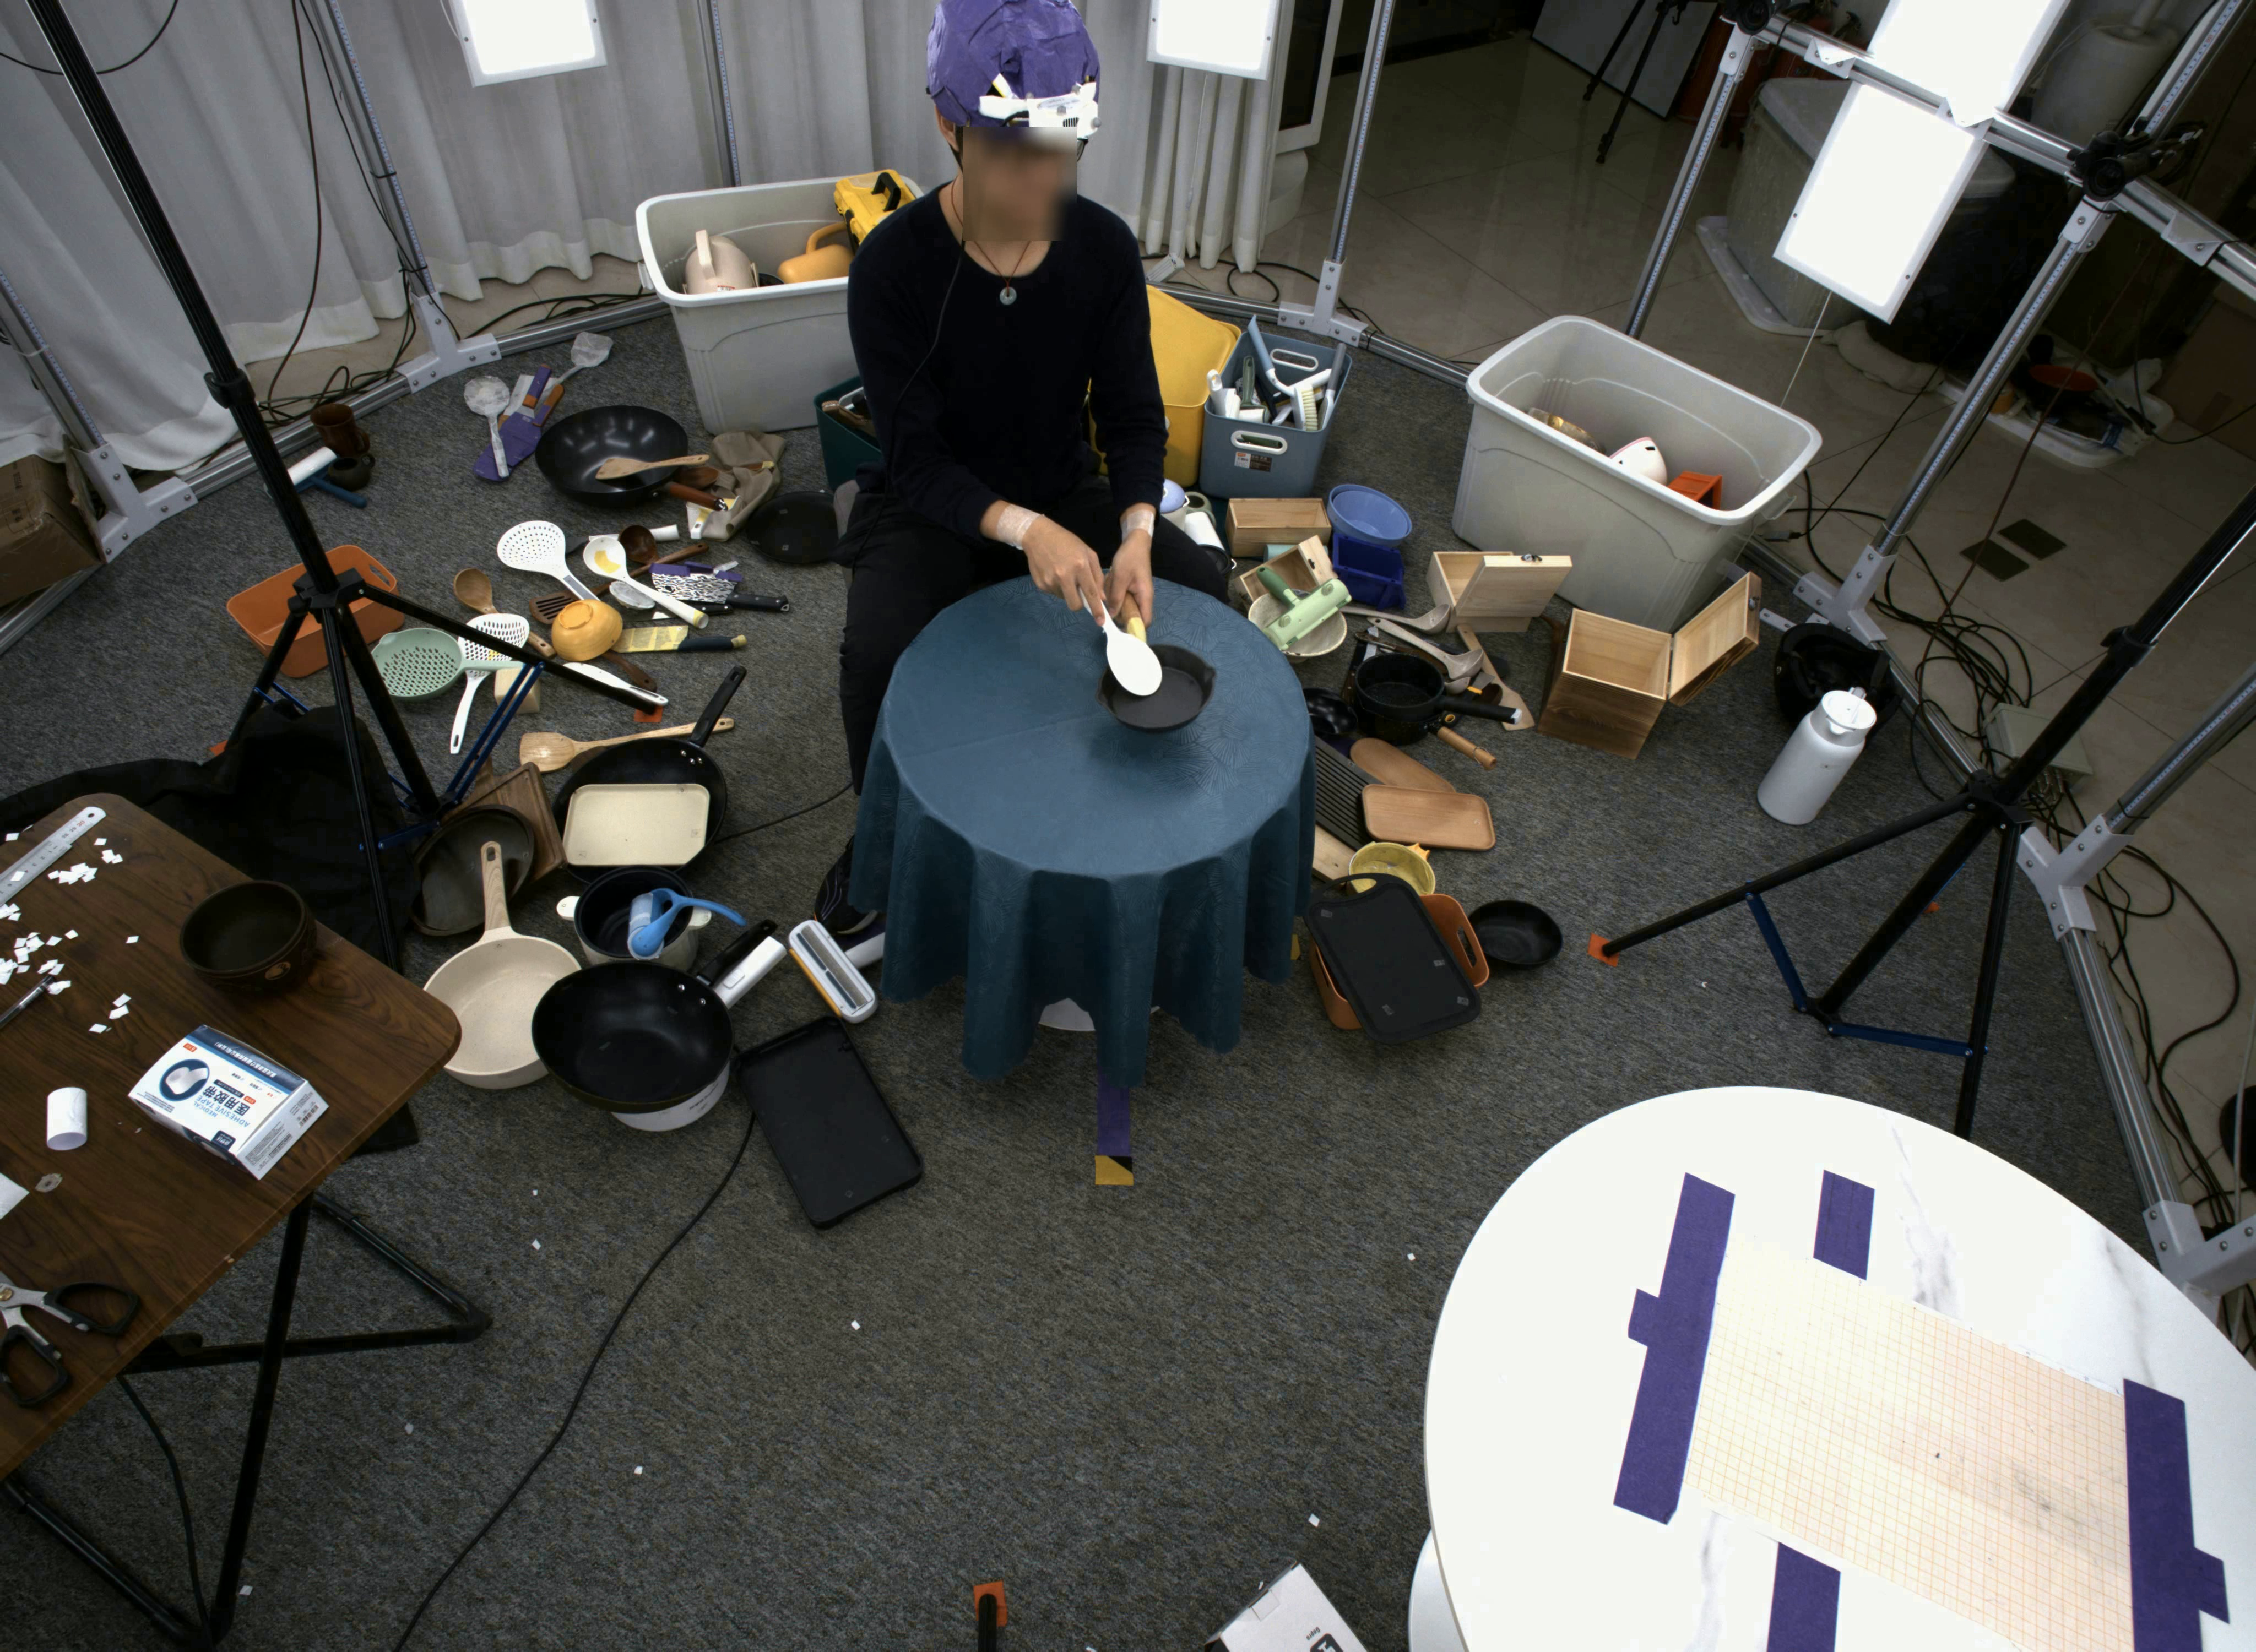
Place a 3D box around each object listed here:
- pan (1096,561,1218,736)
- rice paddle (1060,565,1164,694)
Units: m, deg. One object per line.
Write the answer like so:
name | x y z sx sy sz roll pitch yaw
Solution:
pan | 0.022 -0.249 1.788 0.169 0.048 0.332 -11 51 -5
rice paddle | -0.021 -0.268 1.762 0.069 0.029 0.206 -33 83 -21
